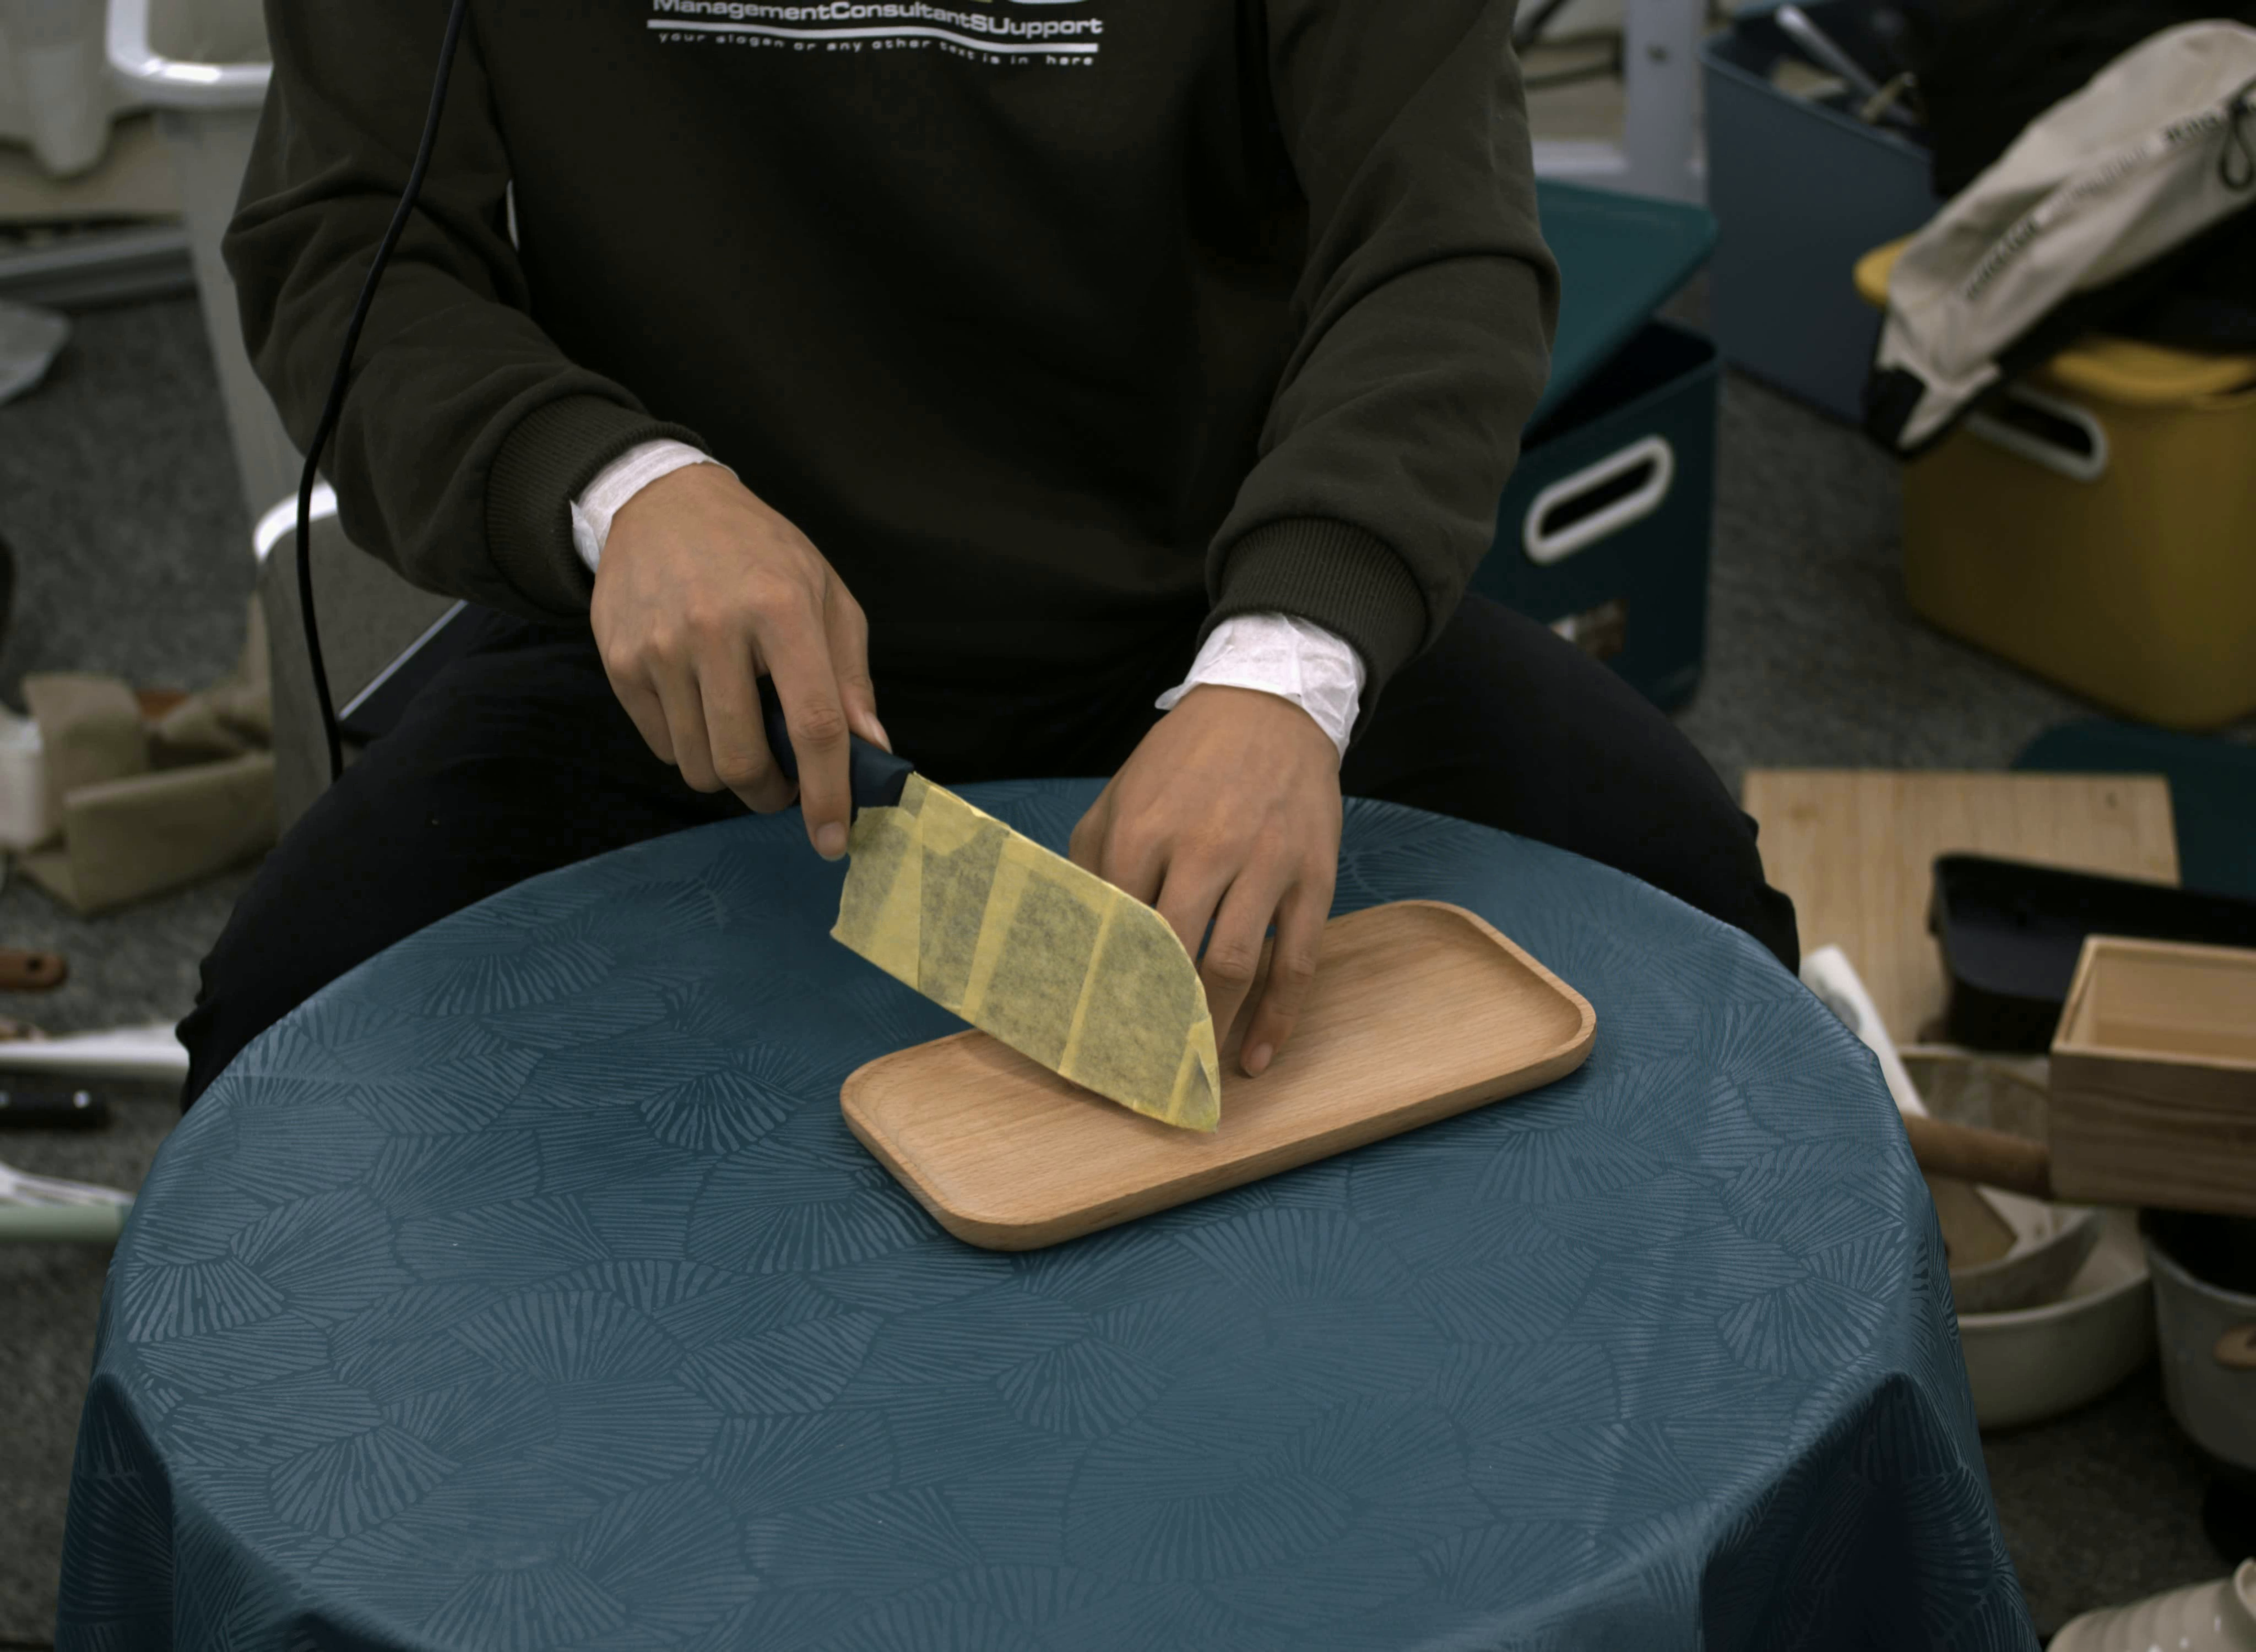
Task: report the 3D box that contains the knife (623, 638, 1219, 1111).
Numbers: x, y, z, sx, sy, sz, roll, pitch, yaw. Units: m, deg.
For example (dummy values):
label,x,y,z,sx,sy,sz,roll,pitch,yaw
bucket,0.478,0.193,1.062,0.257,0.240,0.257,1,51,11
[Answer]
label,x,y,z,sx,sy,sz,roll,pitch,yaw
knife,-0.074,0.015,1.932,0.290,0.080,0.027,33,23,31

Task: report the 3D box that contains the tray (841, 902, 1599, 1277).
label,x,y,z,sx,sy,sz,roll,pitch,yaw
tray,0.032,0.088,1.913,0.252,0.022,0.131,-19,28,-23
